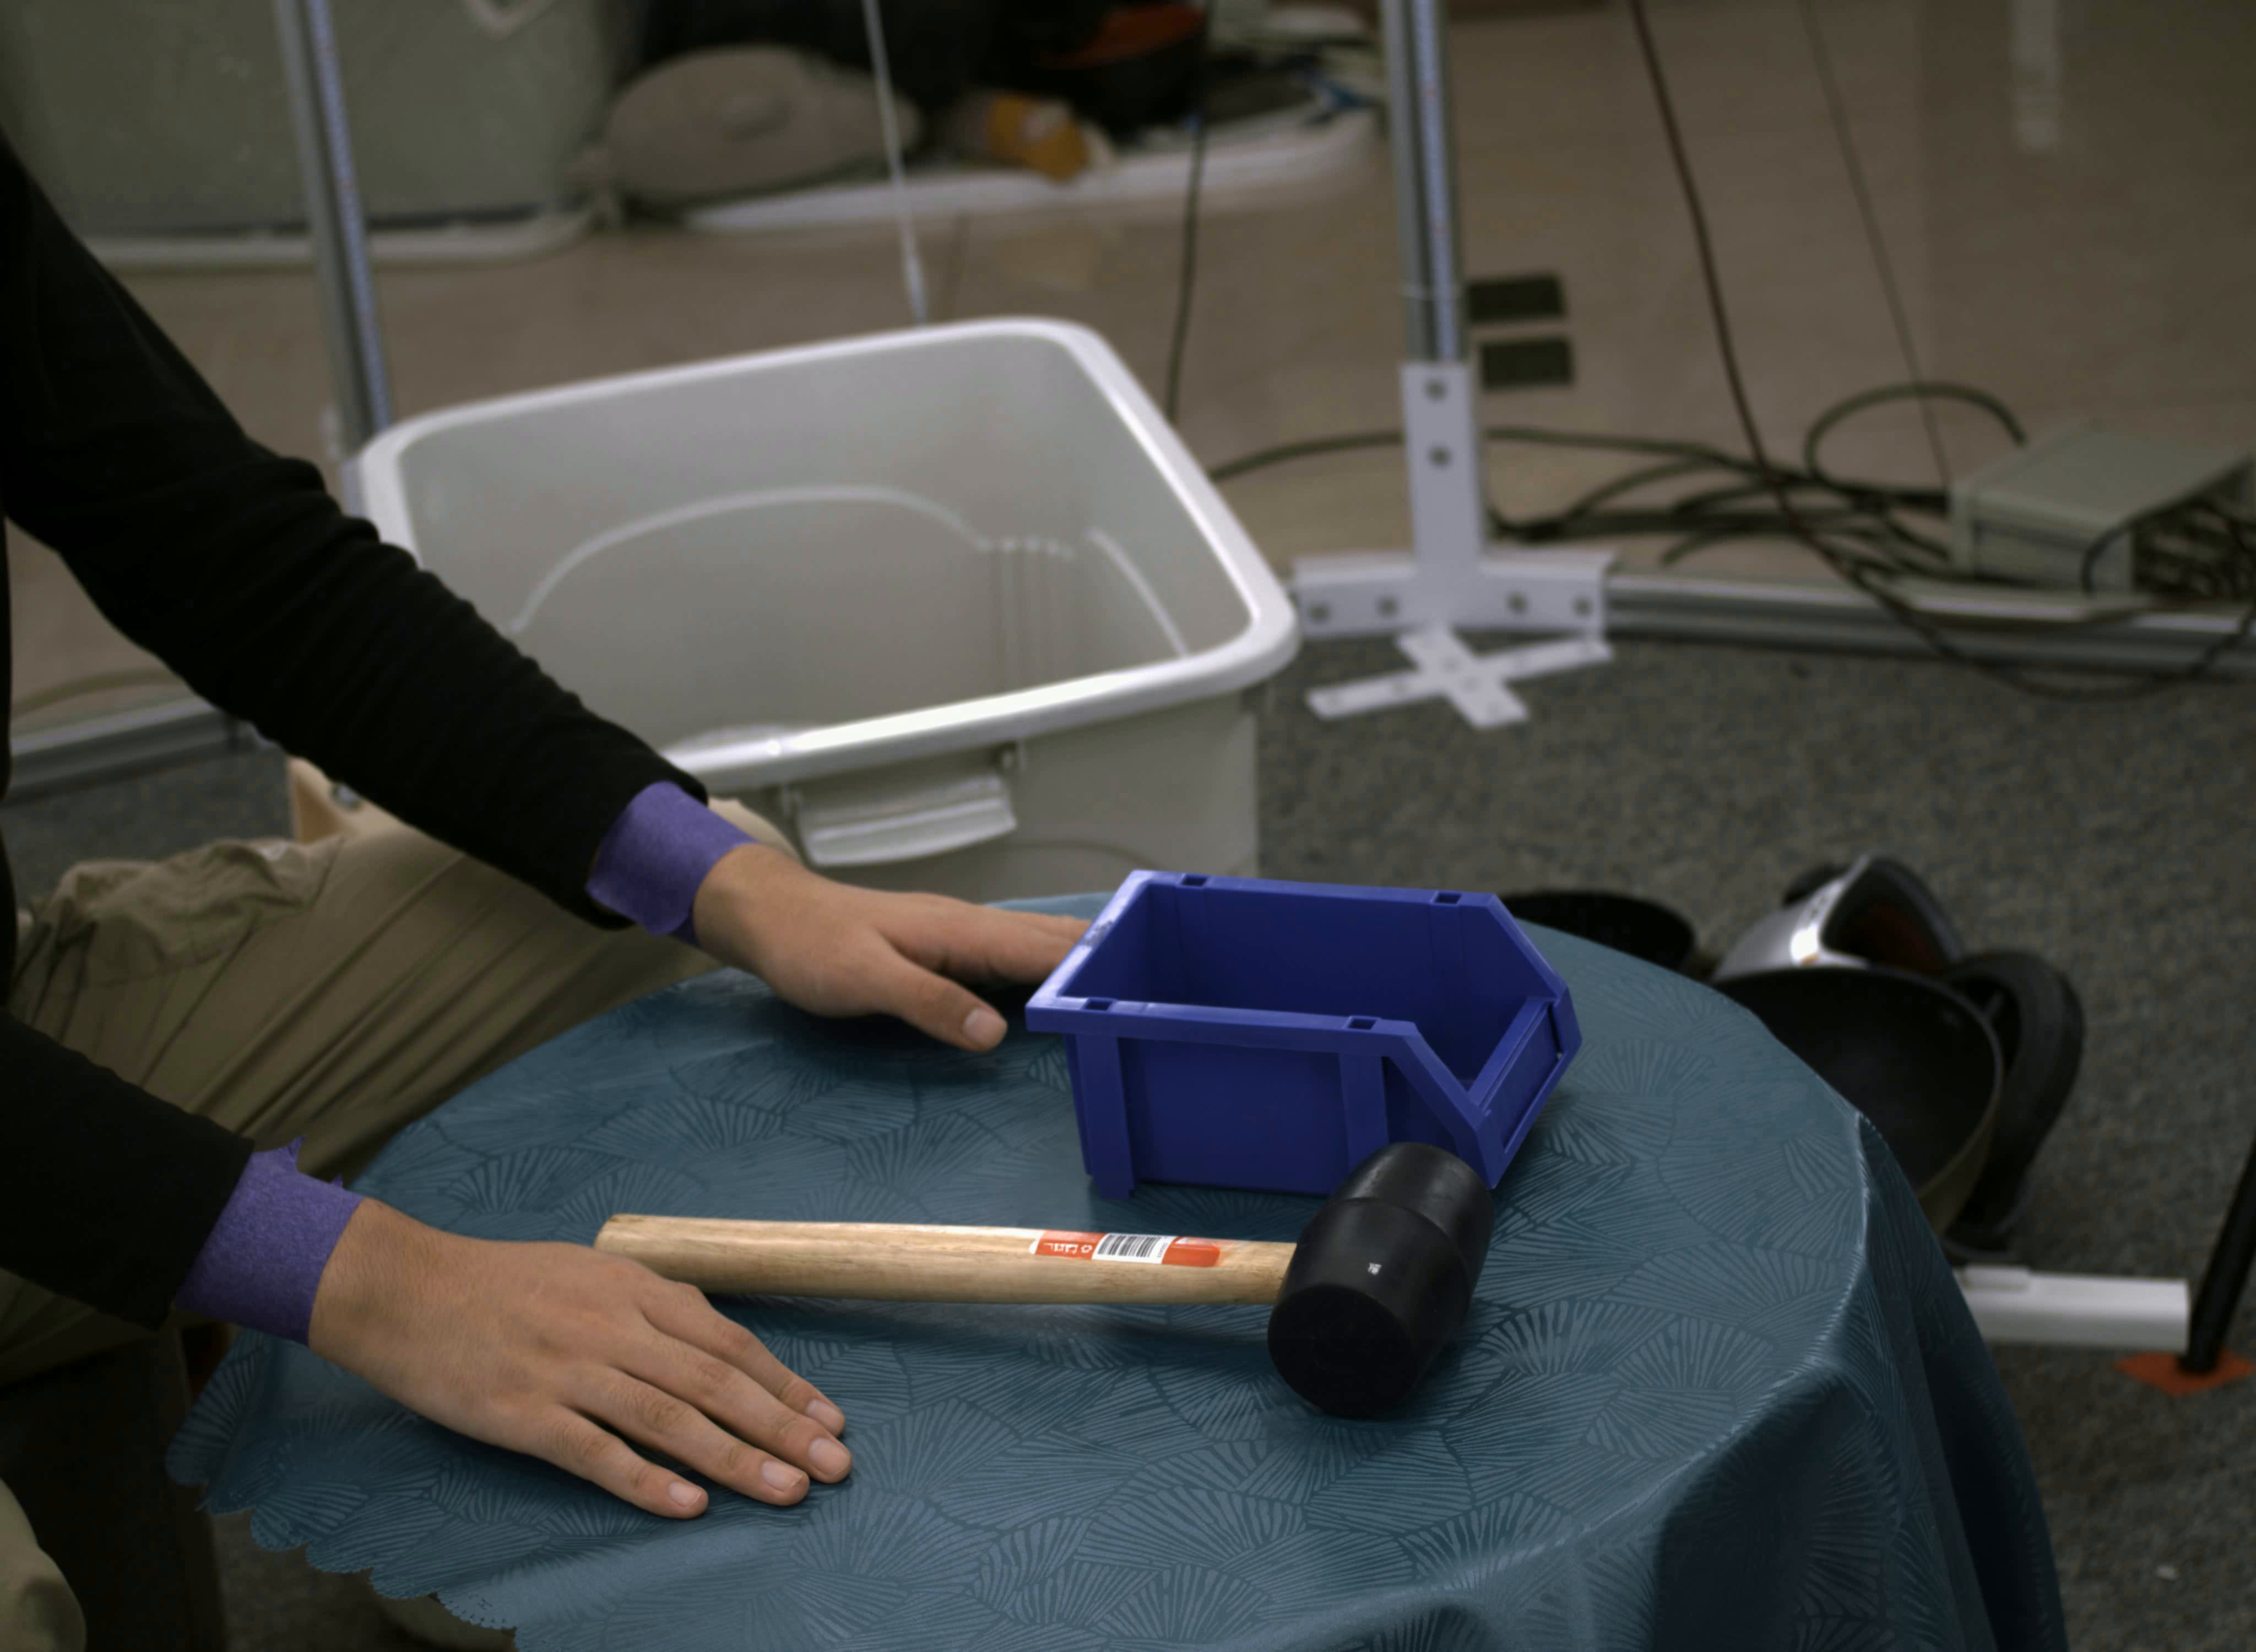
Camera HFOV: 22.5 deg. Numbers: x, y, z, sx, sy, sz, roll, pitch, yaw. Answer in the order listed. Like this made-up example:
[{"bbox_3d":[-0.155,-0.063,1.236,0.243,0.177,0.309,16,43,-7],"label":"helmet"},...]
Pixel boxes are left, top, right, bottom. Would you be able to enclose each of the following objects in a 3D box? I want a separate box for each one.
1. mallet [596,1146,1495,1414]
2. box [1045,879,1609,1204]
[{"bbox_3d":[-0.038,0.154,2.056,0.338,0.065,0.100,3,27,21],"label":"mallet"},{"bbox_3d":[0.079,0.083,2.154,0.179,0.083,0.123,1,26,23],"label":"box"}]
